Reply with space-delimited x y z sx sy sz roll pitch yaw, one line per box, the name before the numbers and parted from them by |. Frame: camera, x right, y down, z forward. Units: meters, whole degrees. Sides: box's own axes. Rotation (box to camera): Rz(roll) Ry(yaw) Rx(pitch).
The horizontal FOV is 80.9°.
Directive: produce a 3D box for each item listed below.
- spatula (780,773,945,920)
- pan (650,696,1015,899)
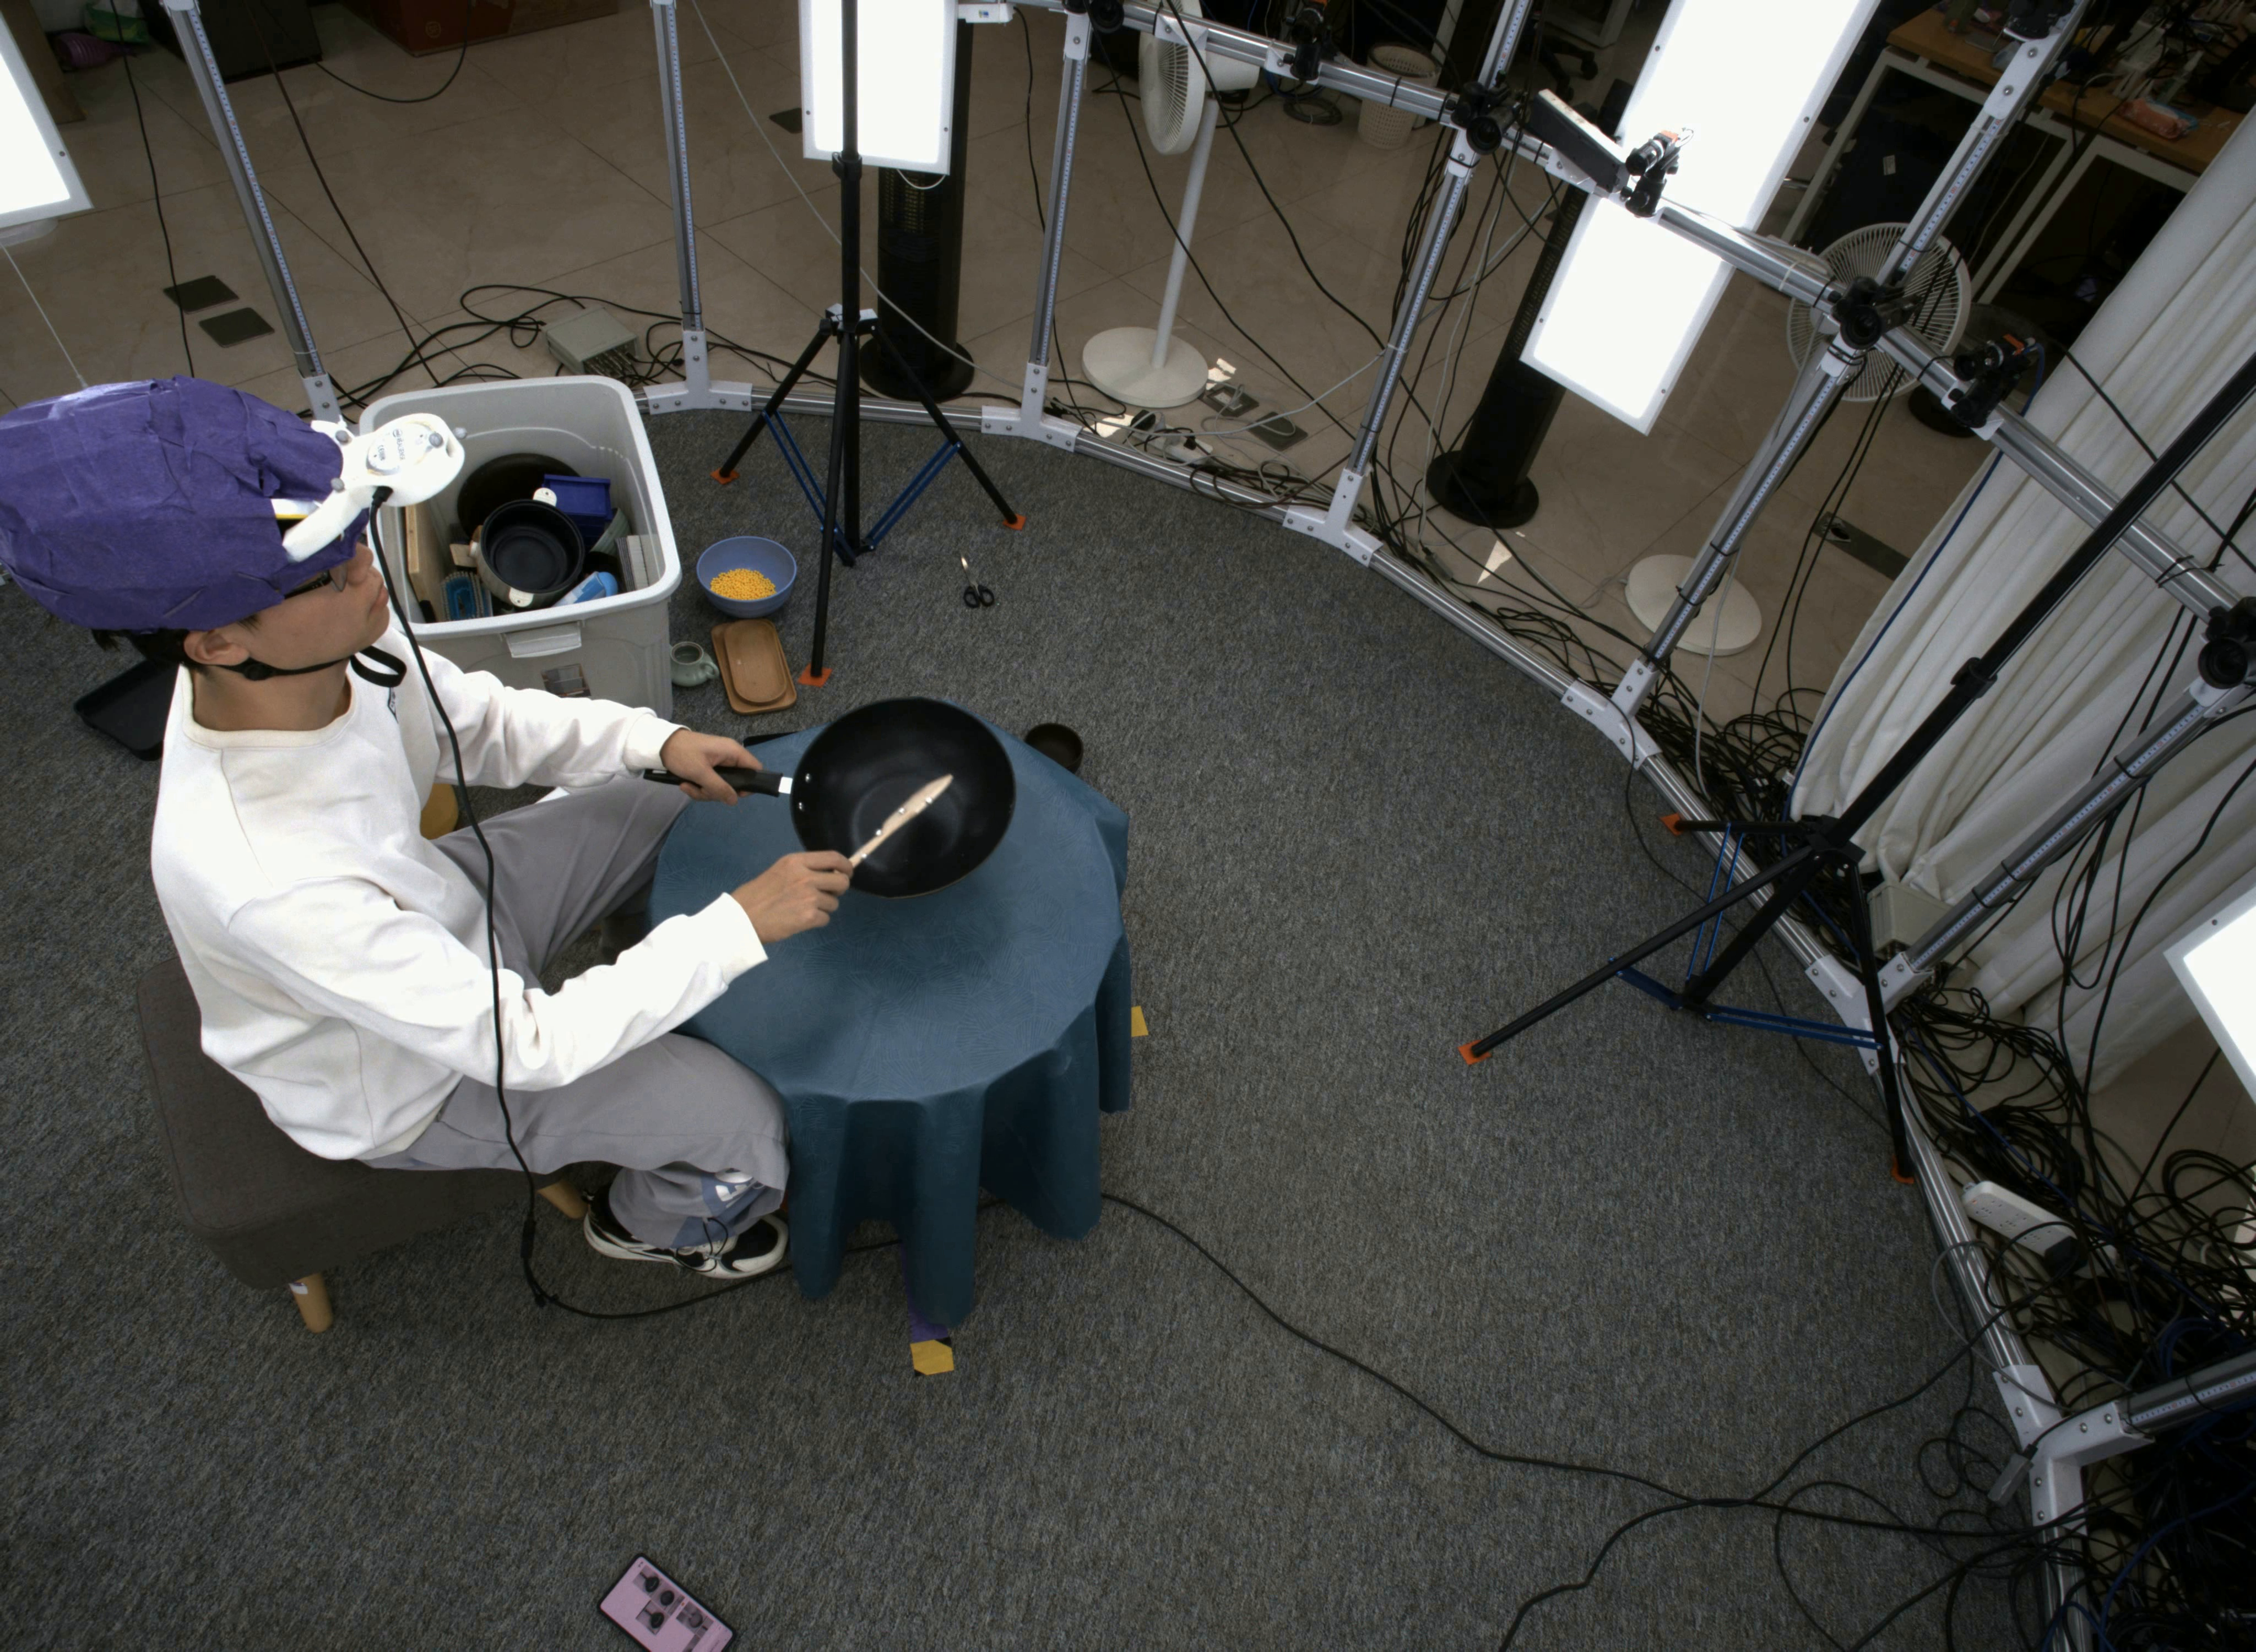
spatula | -0.314 0.022 1.544 0.011 0.070 0.292 56 43 -16
pan | -0.370 -0.032 1.639 0.459 0.088 0.285 5 63 -3
